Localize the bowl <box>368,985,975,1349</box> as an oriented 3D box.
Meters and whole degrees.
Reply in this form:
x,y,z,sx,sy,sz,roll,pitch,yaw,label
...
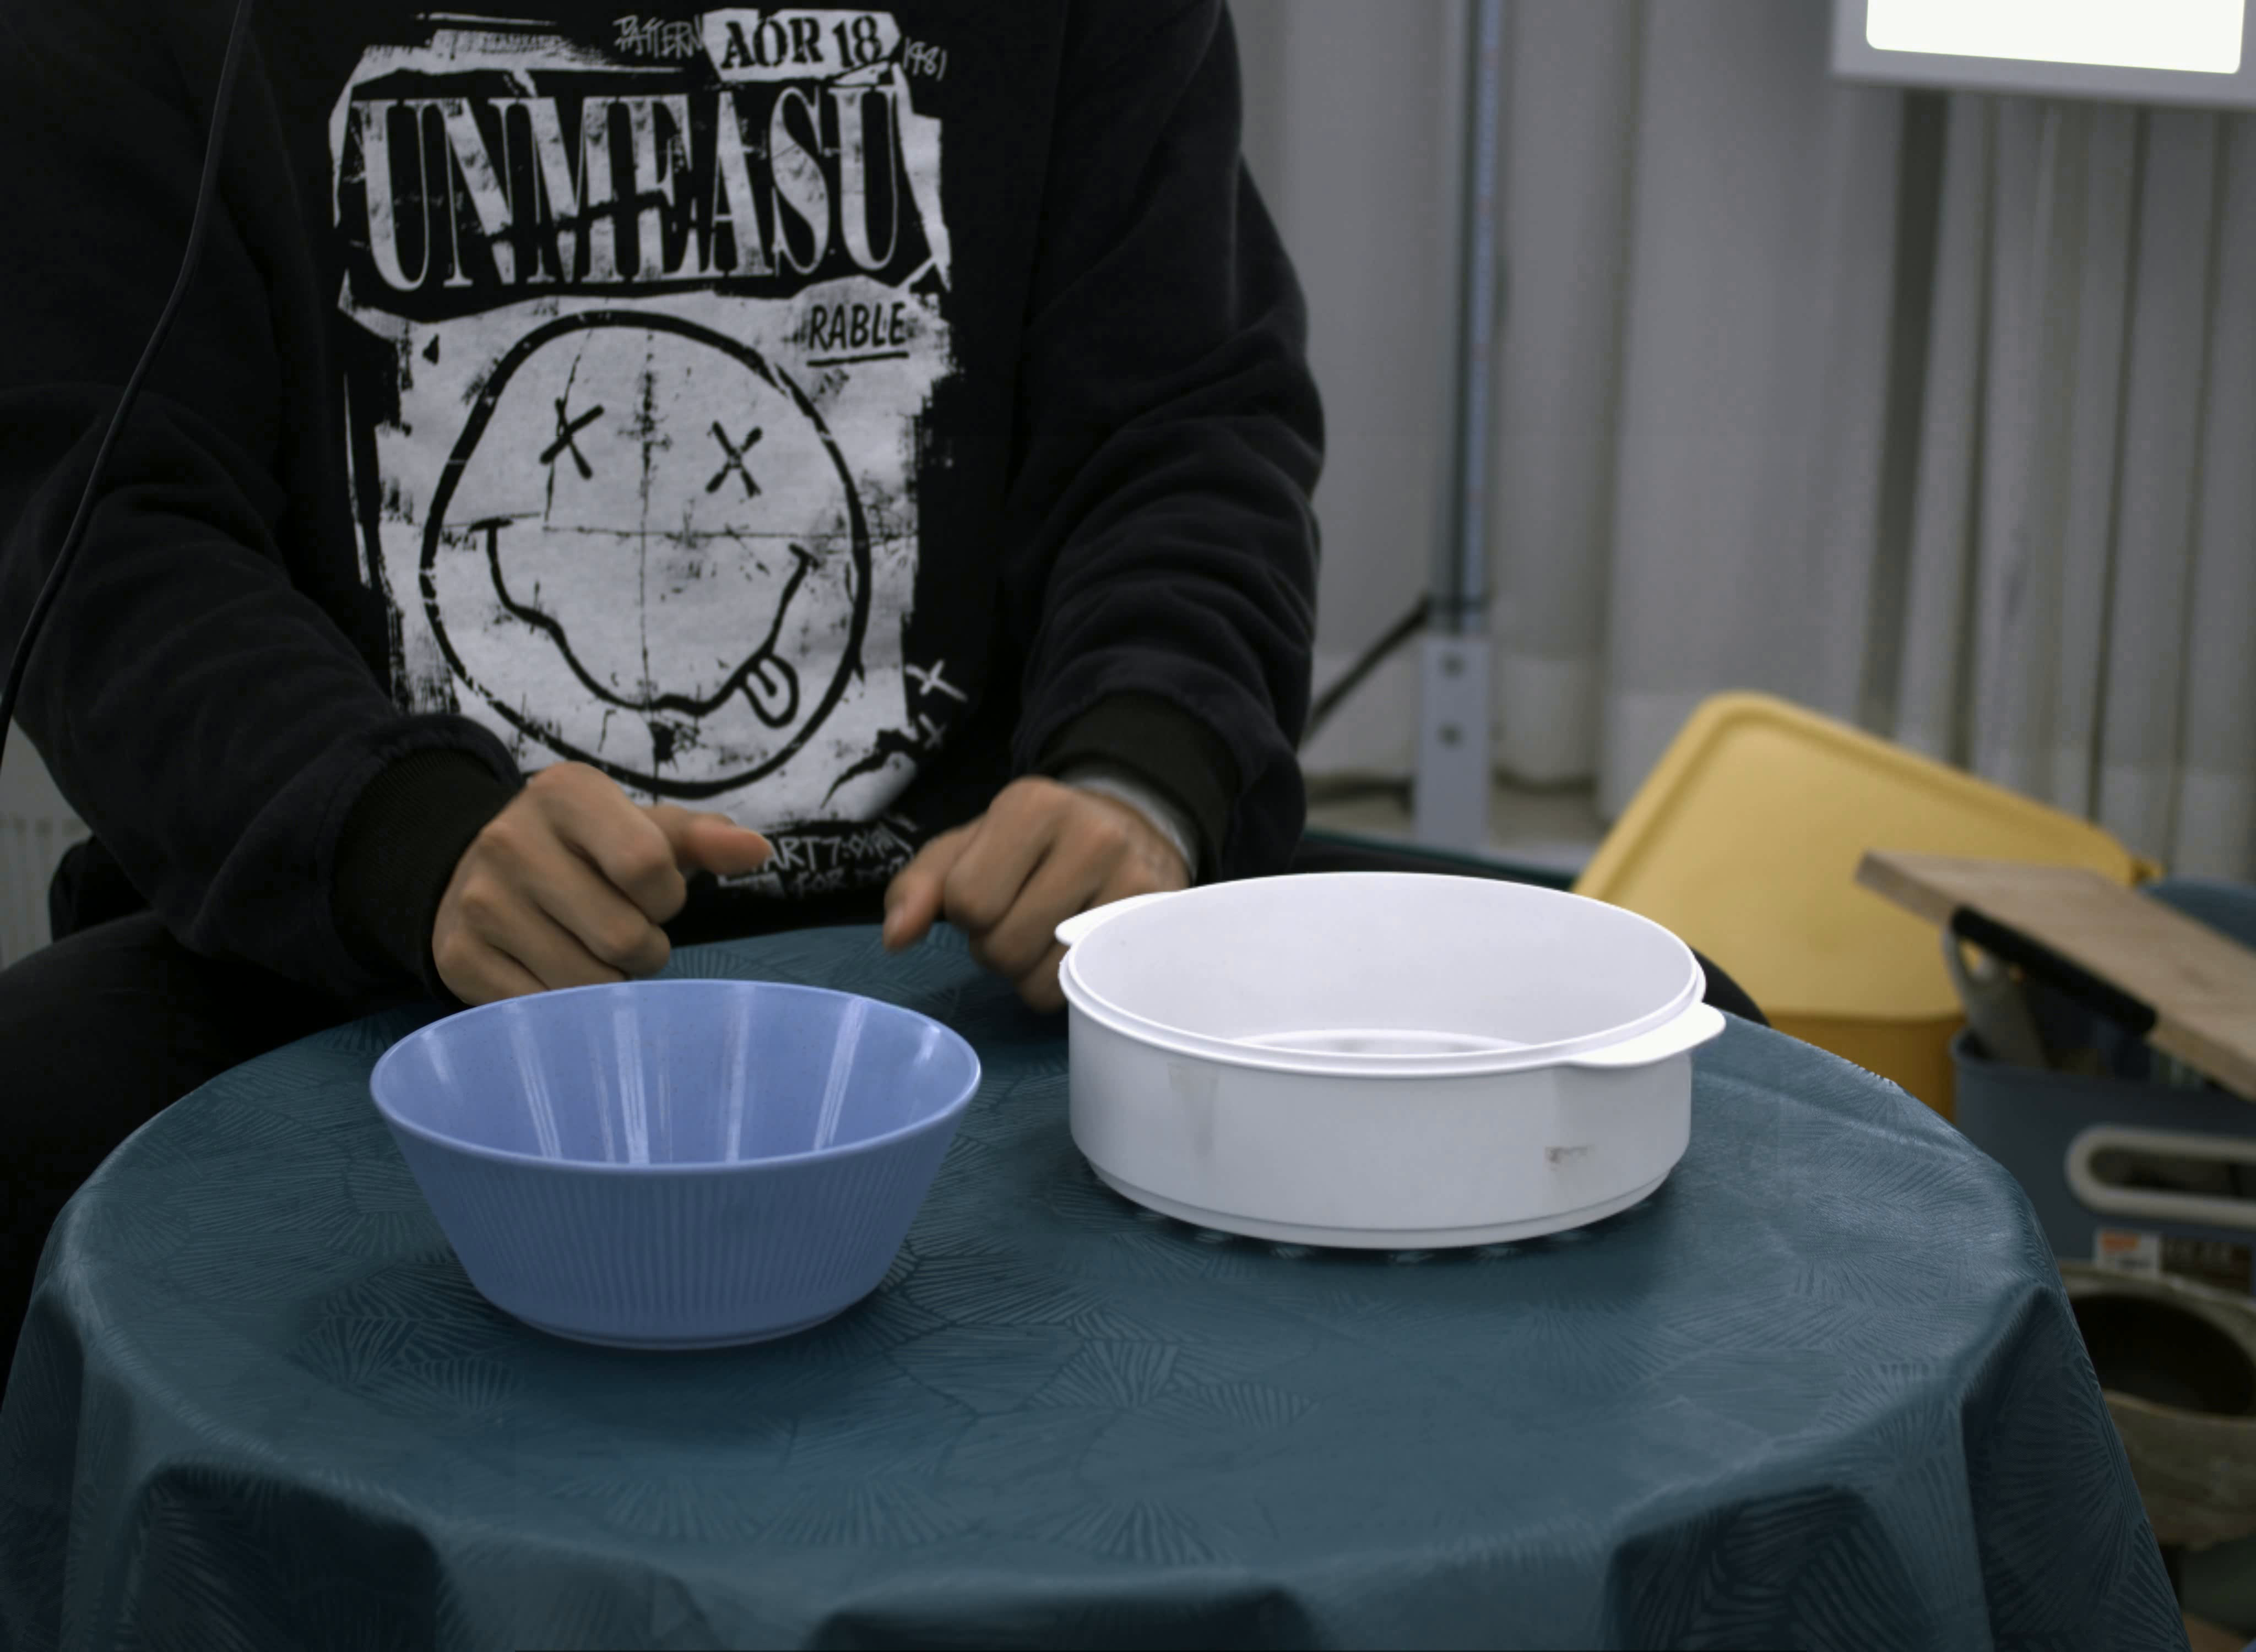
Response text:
x,y,z,sx,sy,sz,roll,pitch,yaw,label
-0.132,0.101,1.531,0.175,0.071,0.175,2,15,0,bowl

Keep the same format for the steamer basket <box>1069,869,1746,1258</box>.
x,y,z,sx,sy,sz,roll,pitch,yaw,label
0.083,0.074,1.642,0.227,0.070,0.203,15,21,35,steamer basket
